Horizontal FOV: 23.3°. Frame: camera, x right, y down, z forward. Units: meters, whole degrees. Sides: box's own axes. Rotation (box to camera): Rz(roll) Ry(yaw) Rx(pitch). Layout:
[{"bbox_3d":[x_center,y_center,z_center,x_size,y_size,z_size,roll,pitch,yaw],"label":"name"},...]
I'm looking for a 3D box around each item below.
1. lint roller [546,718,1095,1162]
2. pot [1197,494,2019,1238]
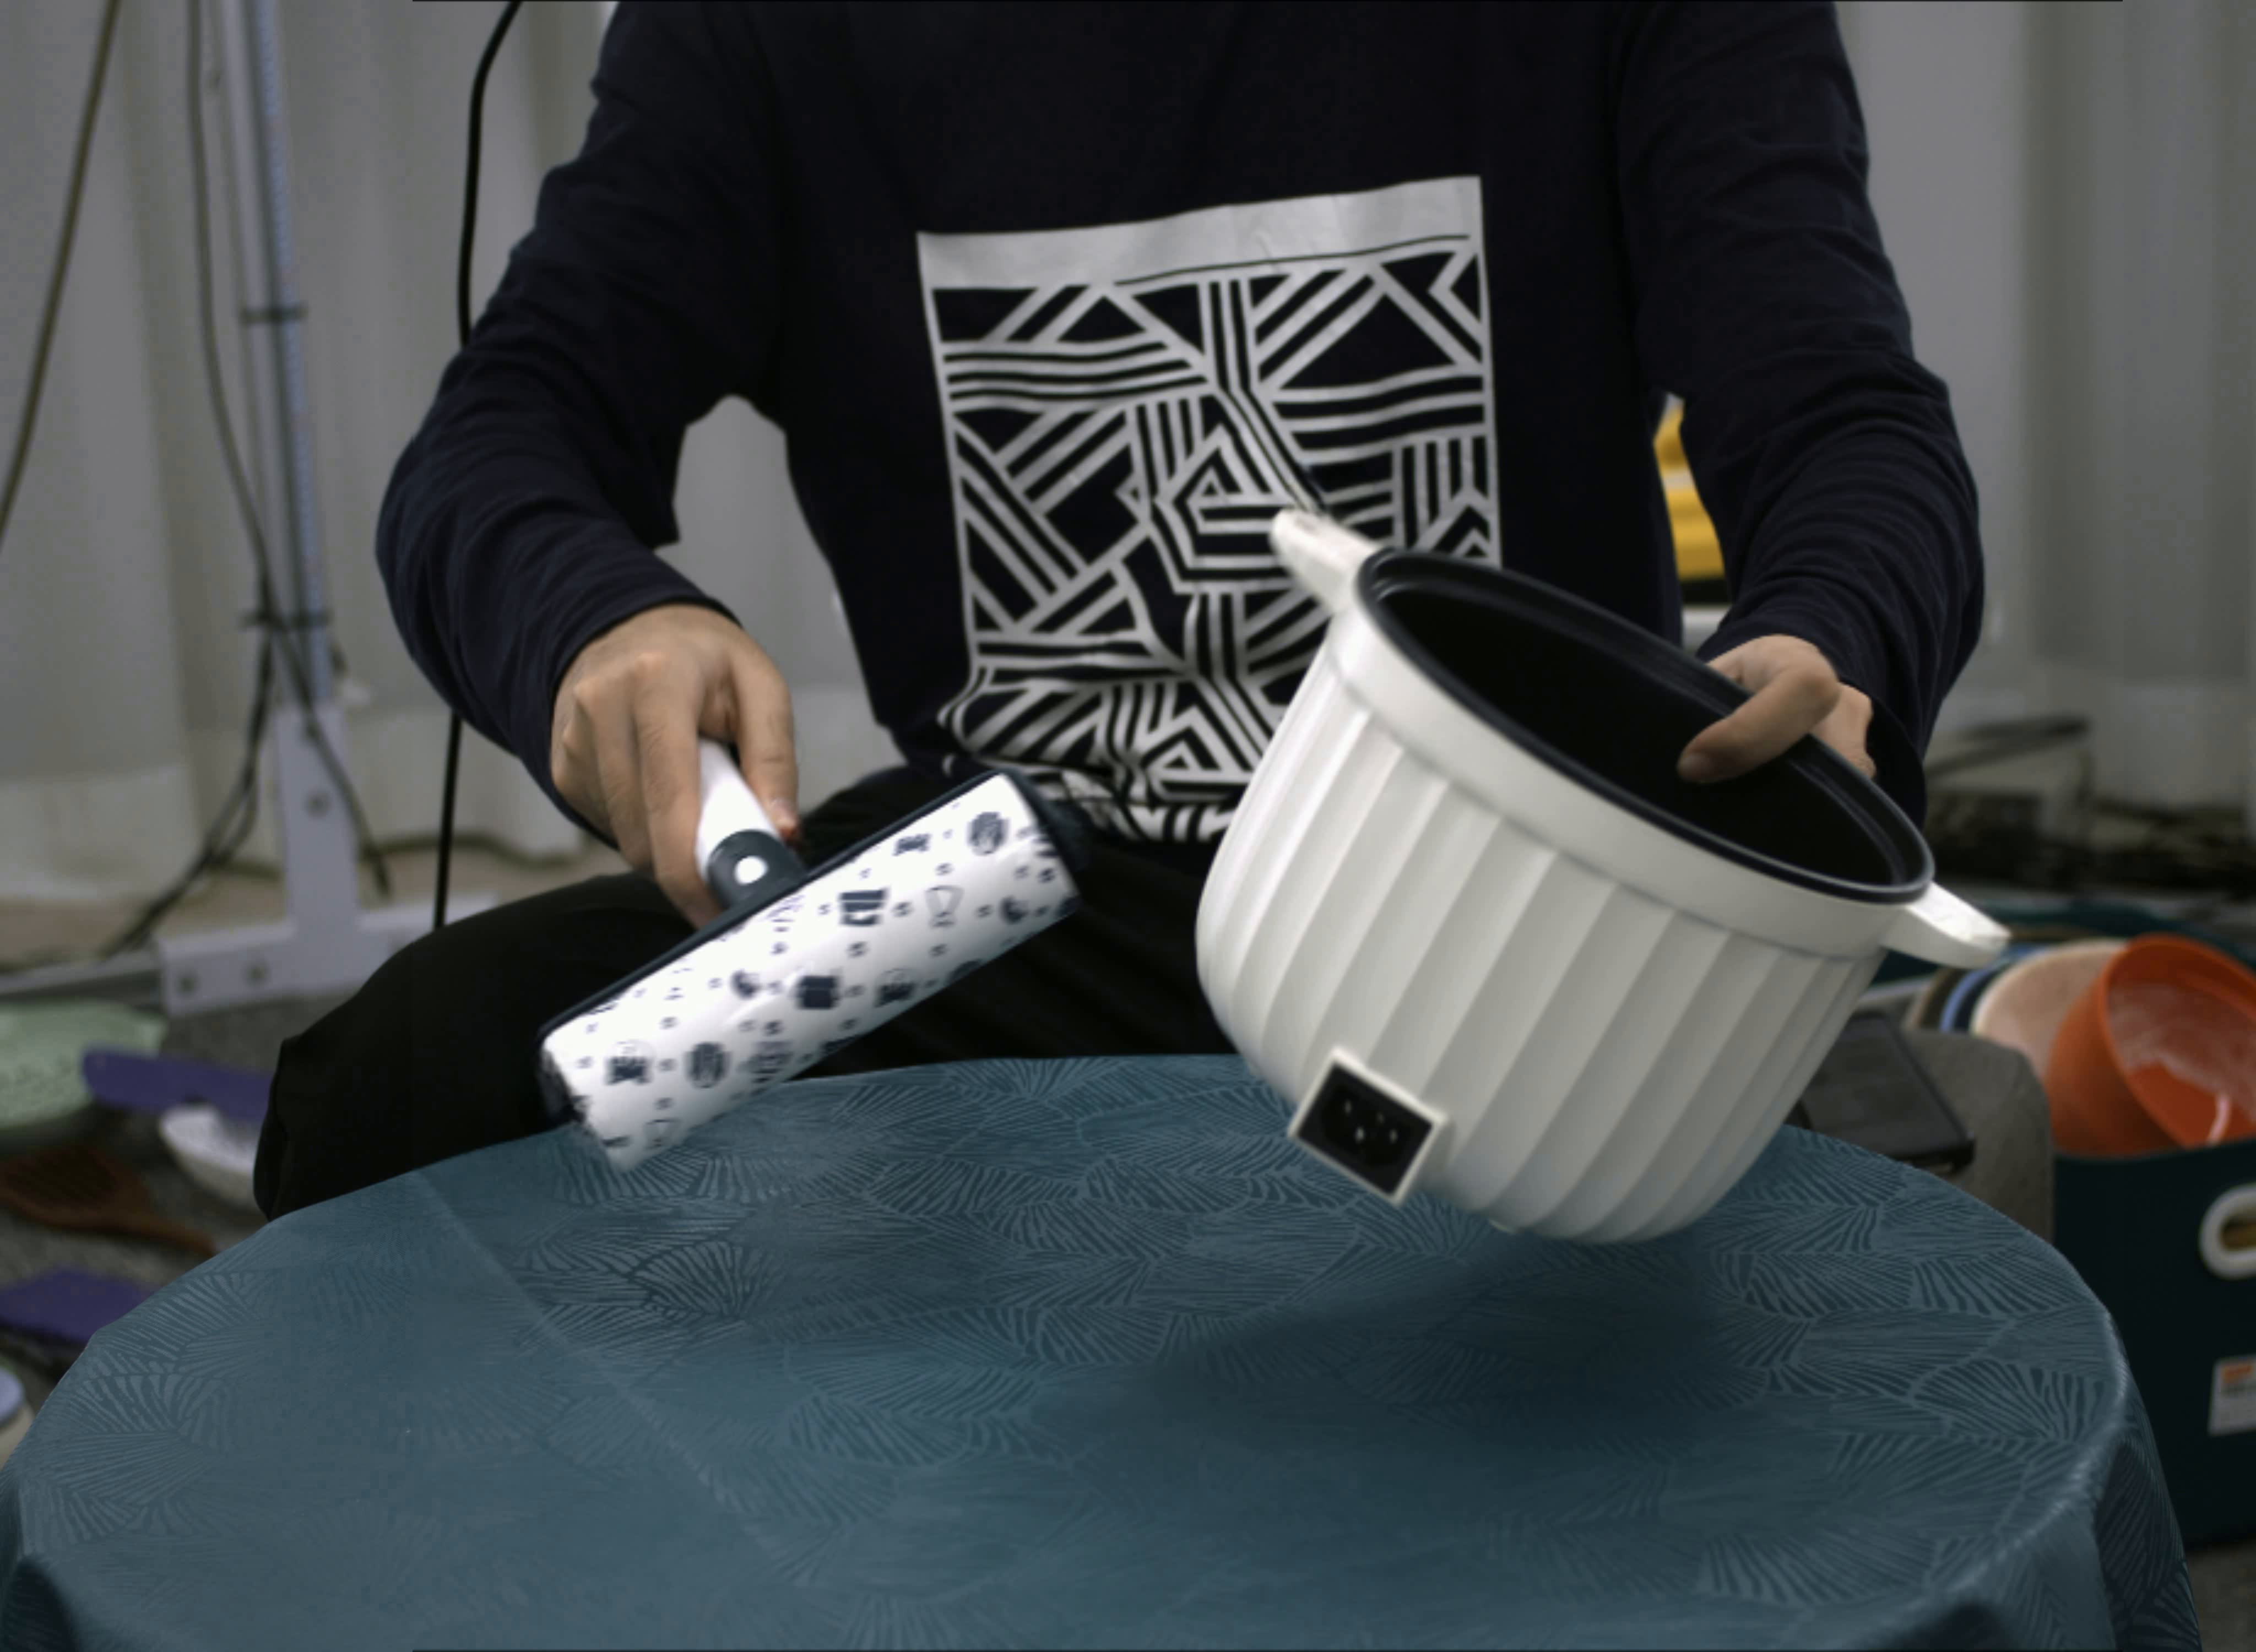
[{"bbox_3d":[-0.122,0.008,1.738,0.176,0.050,0.249,-32,27,-6],"label":"lint roller"},{"bbox_3d":[0.115,0.021,1.538,0.241,0.142,0.191,34,20,11],"label":"pot"}]
